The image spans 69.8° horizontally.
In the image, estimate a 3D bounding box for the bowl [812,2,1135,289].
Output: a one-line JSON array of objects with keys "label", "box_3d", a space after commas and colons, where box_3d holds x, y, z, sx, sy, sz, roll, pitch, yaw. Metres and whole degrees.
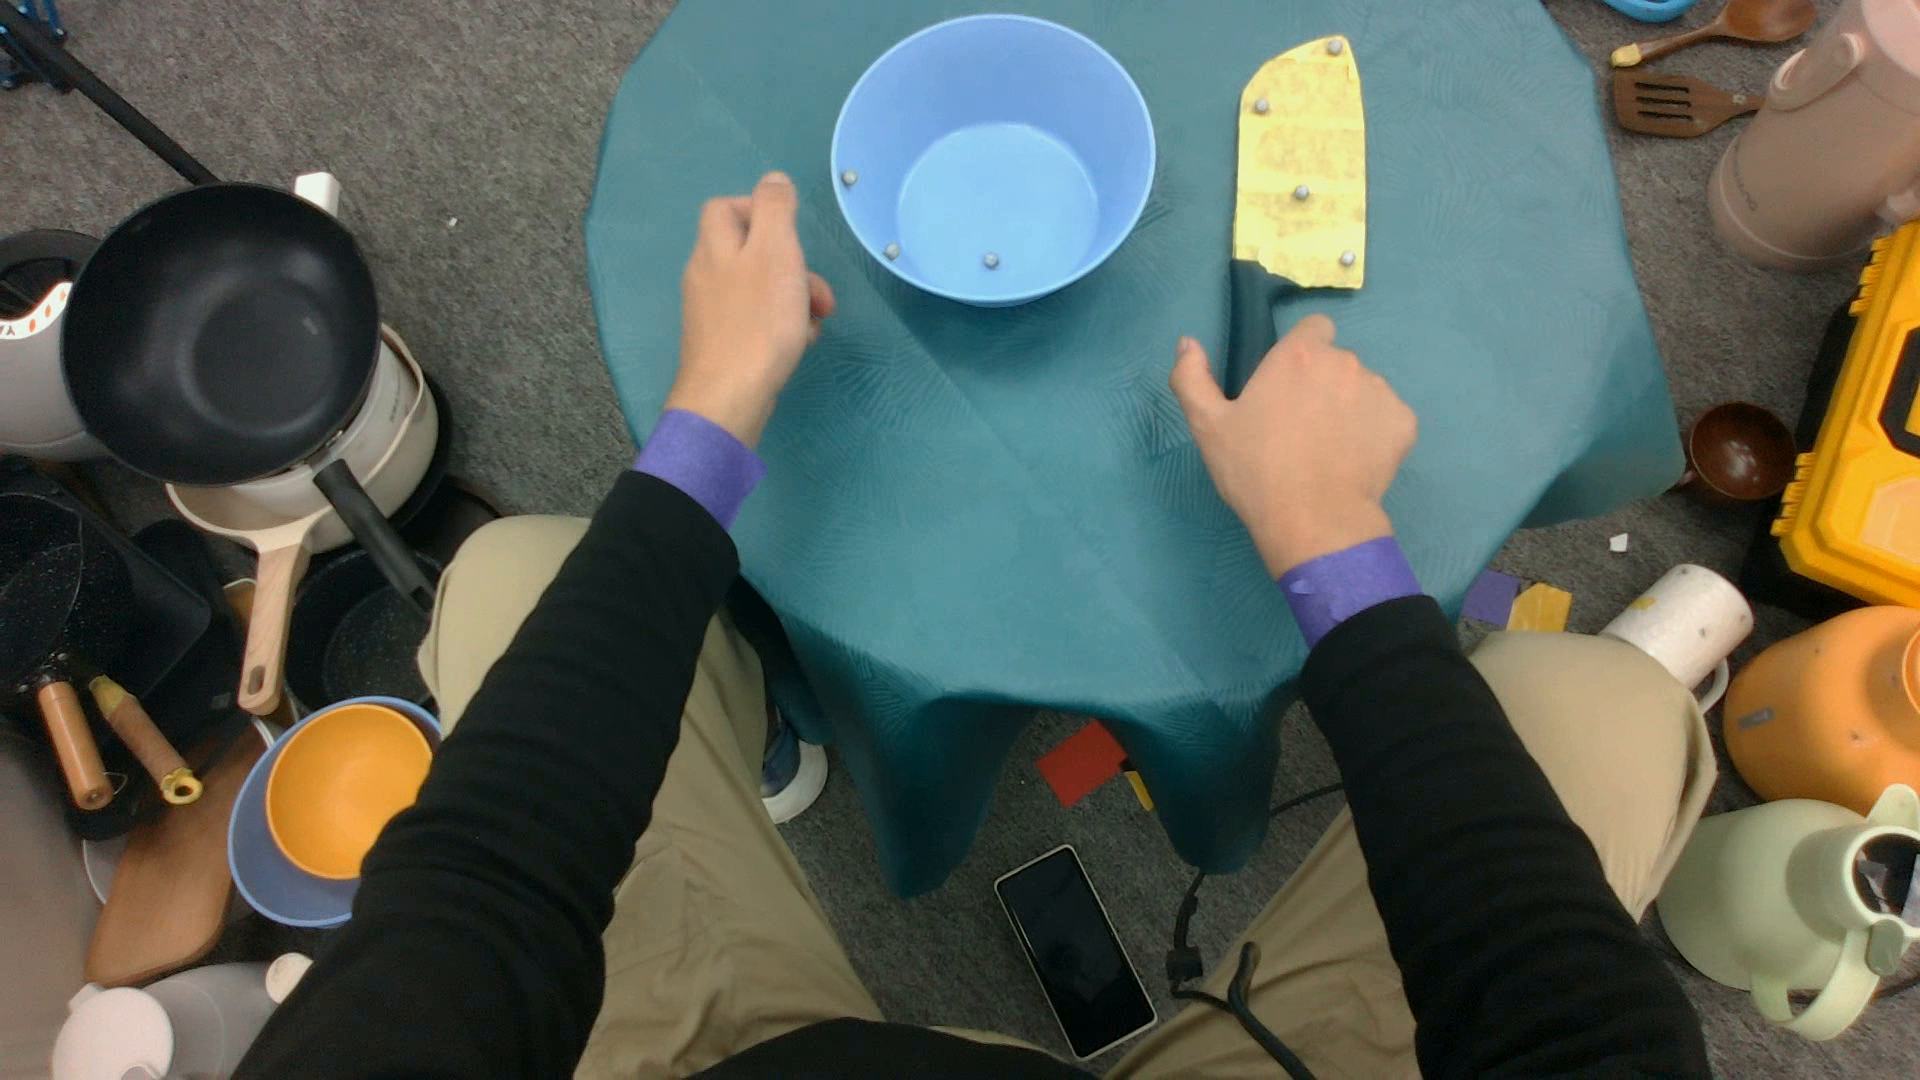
[{"label": "bowl", "box_3d": [0.009, -0.209, 0.777, 0.176, 0.070, 0.176, -1, 73, 2]}]

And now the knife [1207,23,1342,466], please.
[{"label": "knife", "box_3d": [0.178, -0.176, 0.786, 0.081, 0.027, 0.290, 6, 72, 7]}]
